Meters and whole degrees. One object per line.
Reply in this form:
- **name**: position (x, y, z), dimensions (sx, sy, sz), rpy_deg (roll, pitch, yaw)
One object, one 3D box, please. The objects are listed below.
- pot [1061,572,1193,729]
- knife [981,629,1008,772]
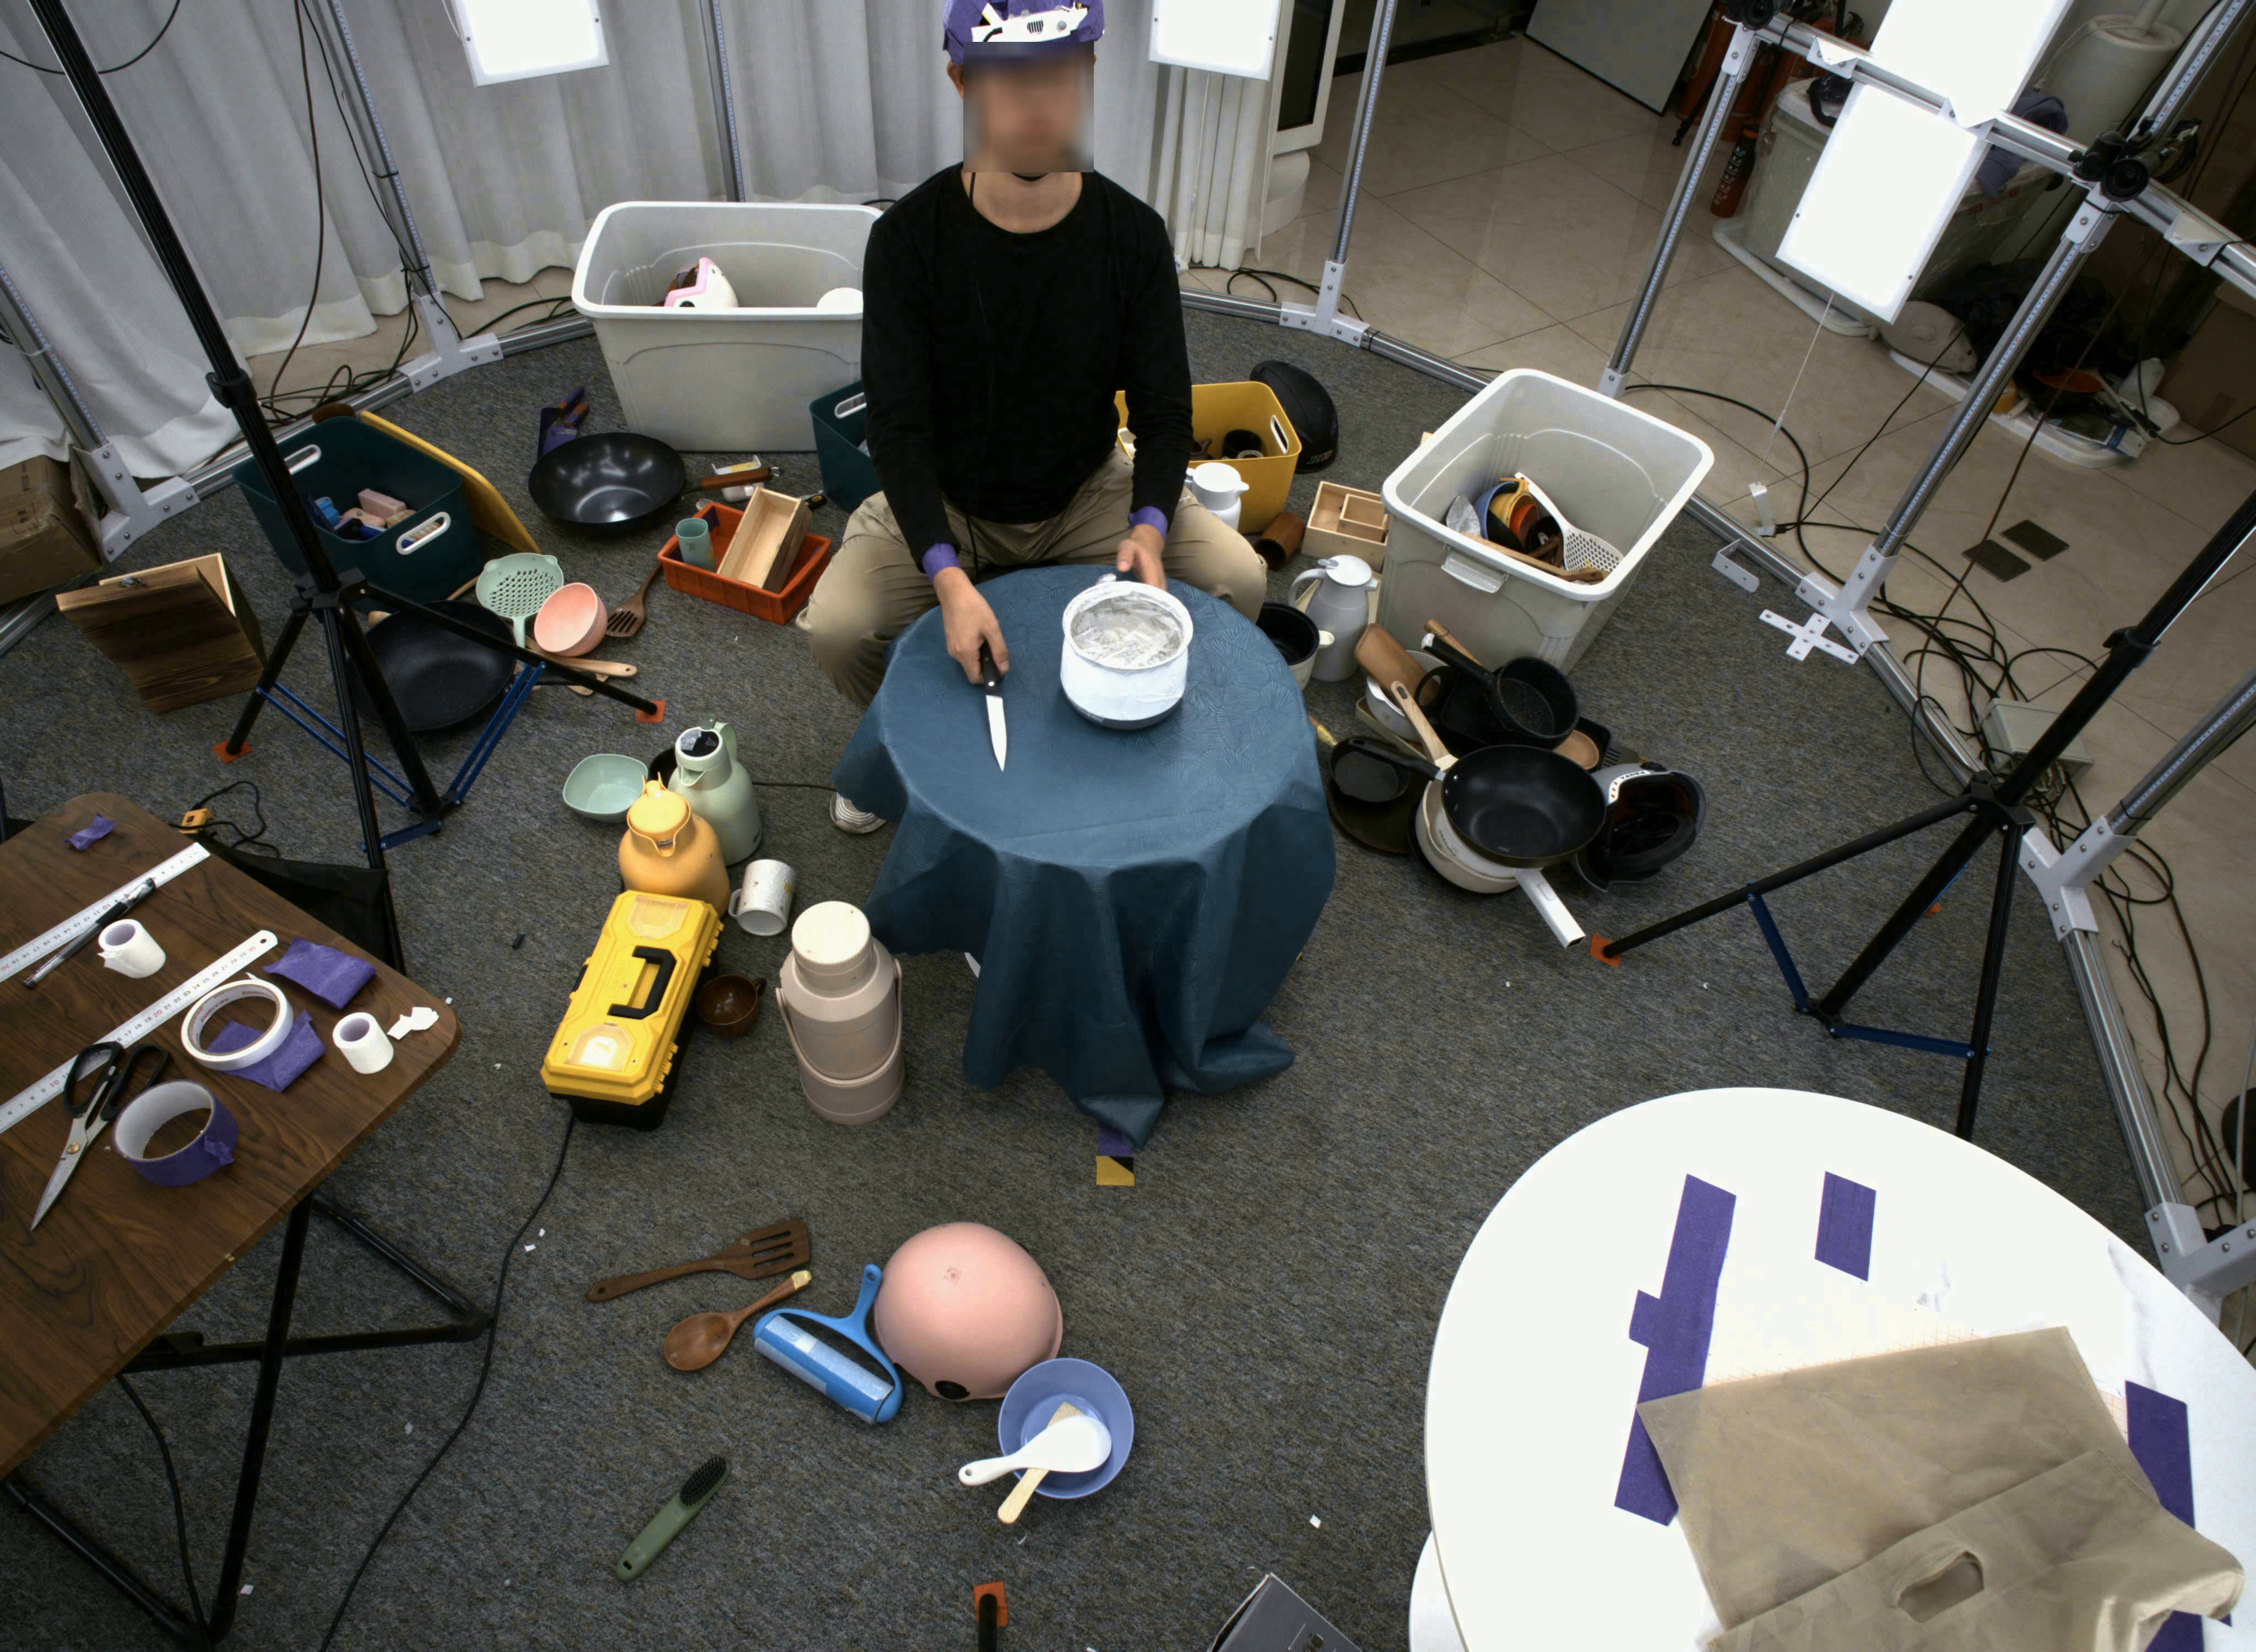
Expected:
- **pot**: position (-0.012, -0.255, 1.798), dimensions (0.178, 0.133, 0.239), rpy_deg (-9, 52, -13)
- **knife**: position (-0.186, -0.176, 1.784), dimensions (0.024, 0.016, 0.243), rpy_deg (6, 57, -25)
